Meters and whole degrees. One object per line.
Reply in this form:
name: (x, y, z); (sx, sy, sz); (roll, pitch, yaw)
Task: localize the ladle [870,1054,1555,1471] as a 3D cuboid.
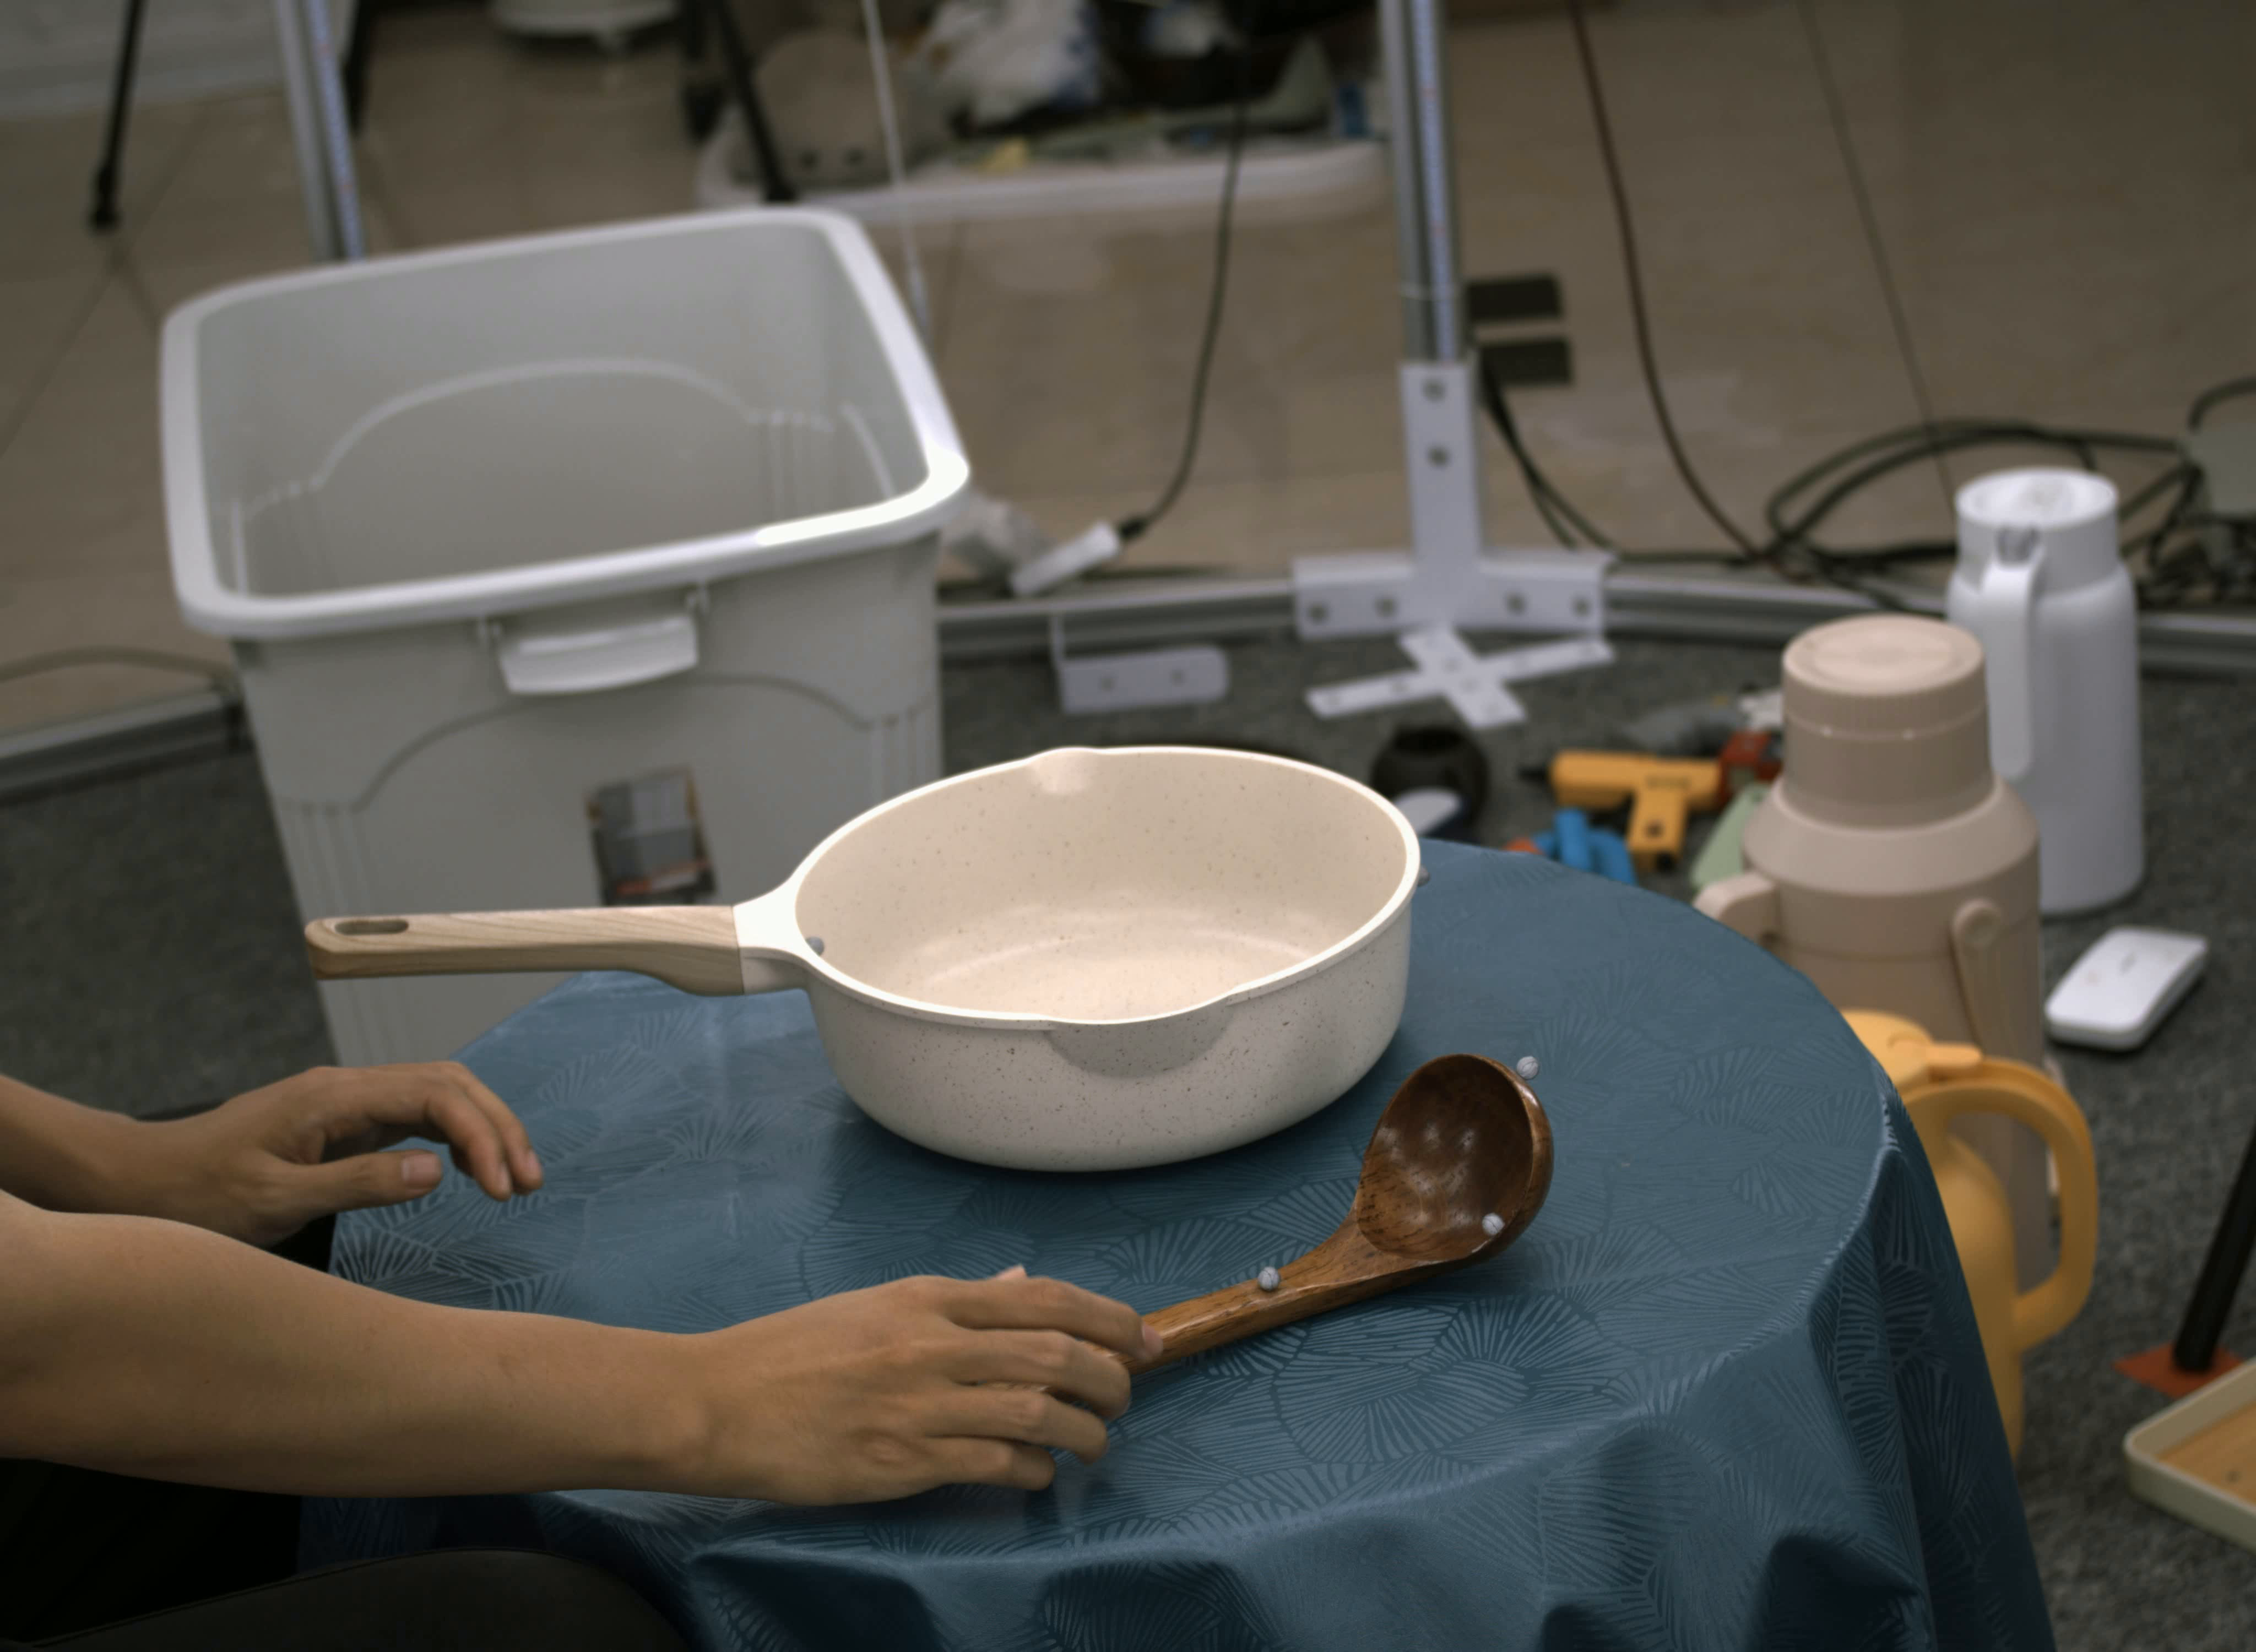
ladle: (0.031, 0.154, 2.019); (0.272, 0.078, 0.081); (-18, 33, -25)

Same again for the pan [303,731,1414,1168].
pan: (-0.100, 0.059, 2.228); (0.434, 0.103, 0.259); (-8, 26, -5)
